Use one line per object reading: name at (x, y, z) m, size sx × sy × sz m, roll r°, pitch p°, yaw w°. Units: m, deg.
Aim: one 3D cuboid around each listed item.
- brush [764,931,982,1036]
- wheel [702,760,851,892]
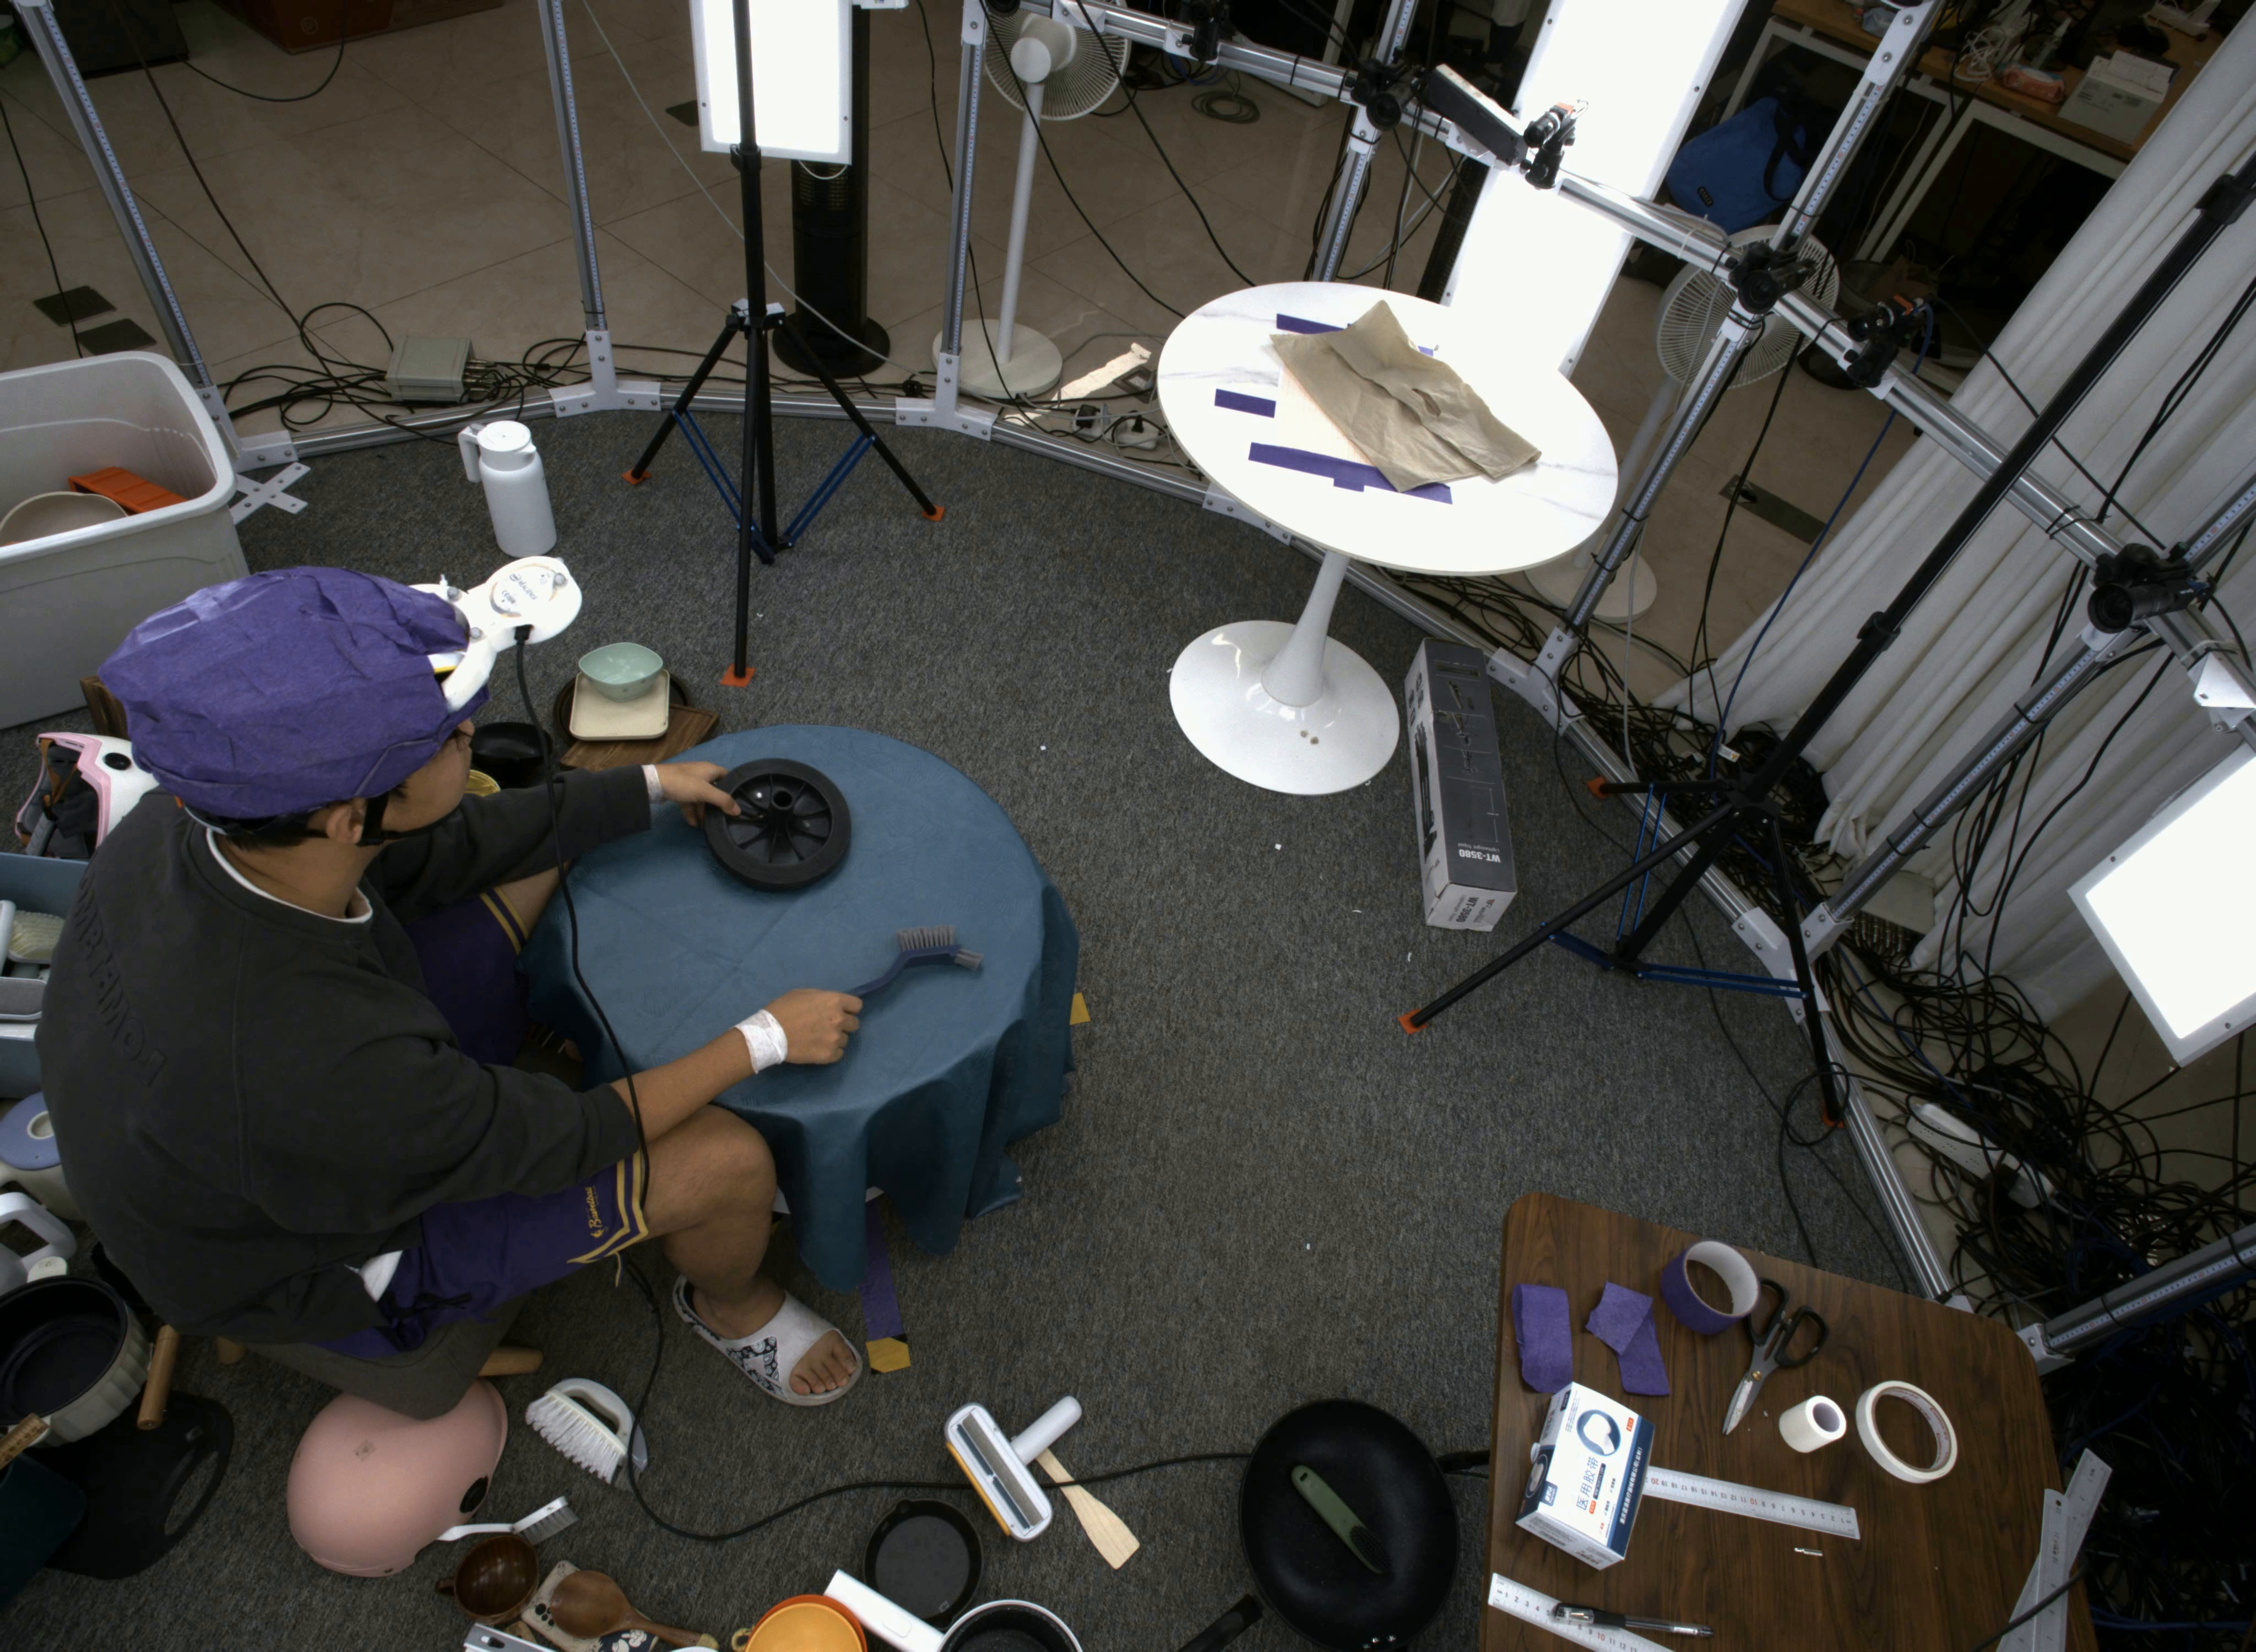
brush at (-0.310, 0.201, 1.582) m, size 0.274 × 0.033 × 0.095 m, roll -31°, pitch 79°, yaw -33°
wheel at (-0.452, -0.014, 1.672) m, size 0.191 × 0.080 × 0.184 m, roll -1°, pitch 62°, yaw -21°
